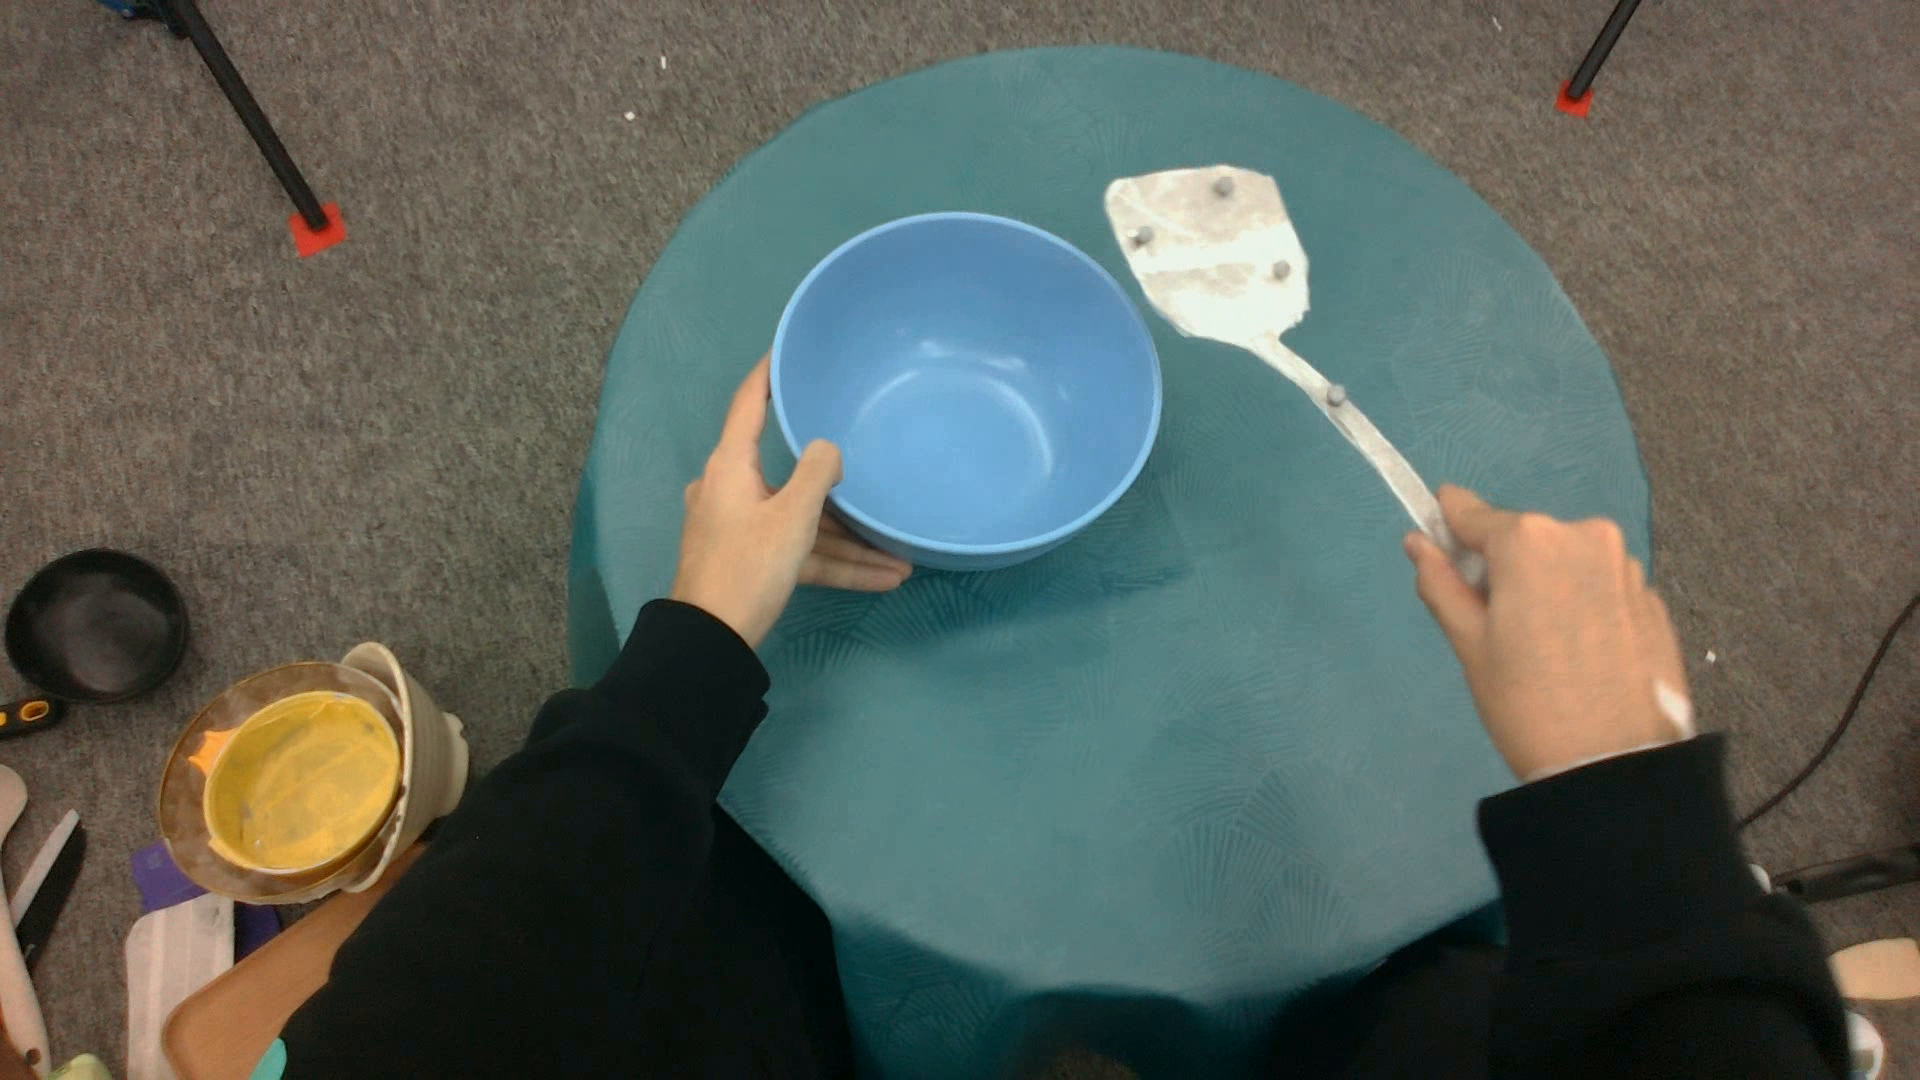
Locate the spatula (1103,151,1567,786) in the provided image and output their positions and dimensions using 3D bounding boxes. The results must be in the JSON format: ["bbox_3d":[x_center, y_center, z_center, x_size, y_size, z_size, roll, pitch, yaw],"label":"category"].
[{"bbox_3d":[0.166,-0.055,0.602,0.099,0.044,0.366,-7,48,-21],"label":"spatula"}]

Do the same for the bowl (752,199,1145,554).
[{"bbox_3d":[-0.009,-0.072,0.724,0.196,0.095,0.197,3,64,-6],"label":"bowl"}]
